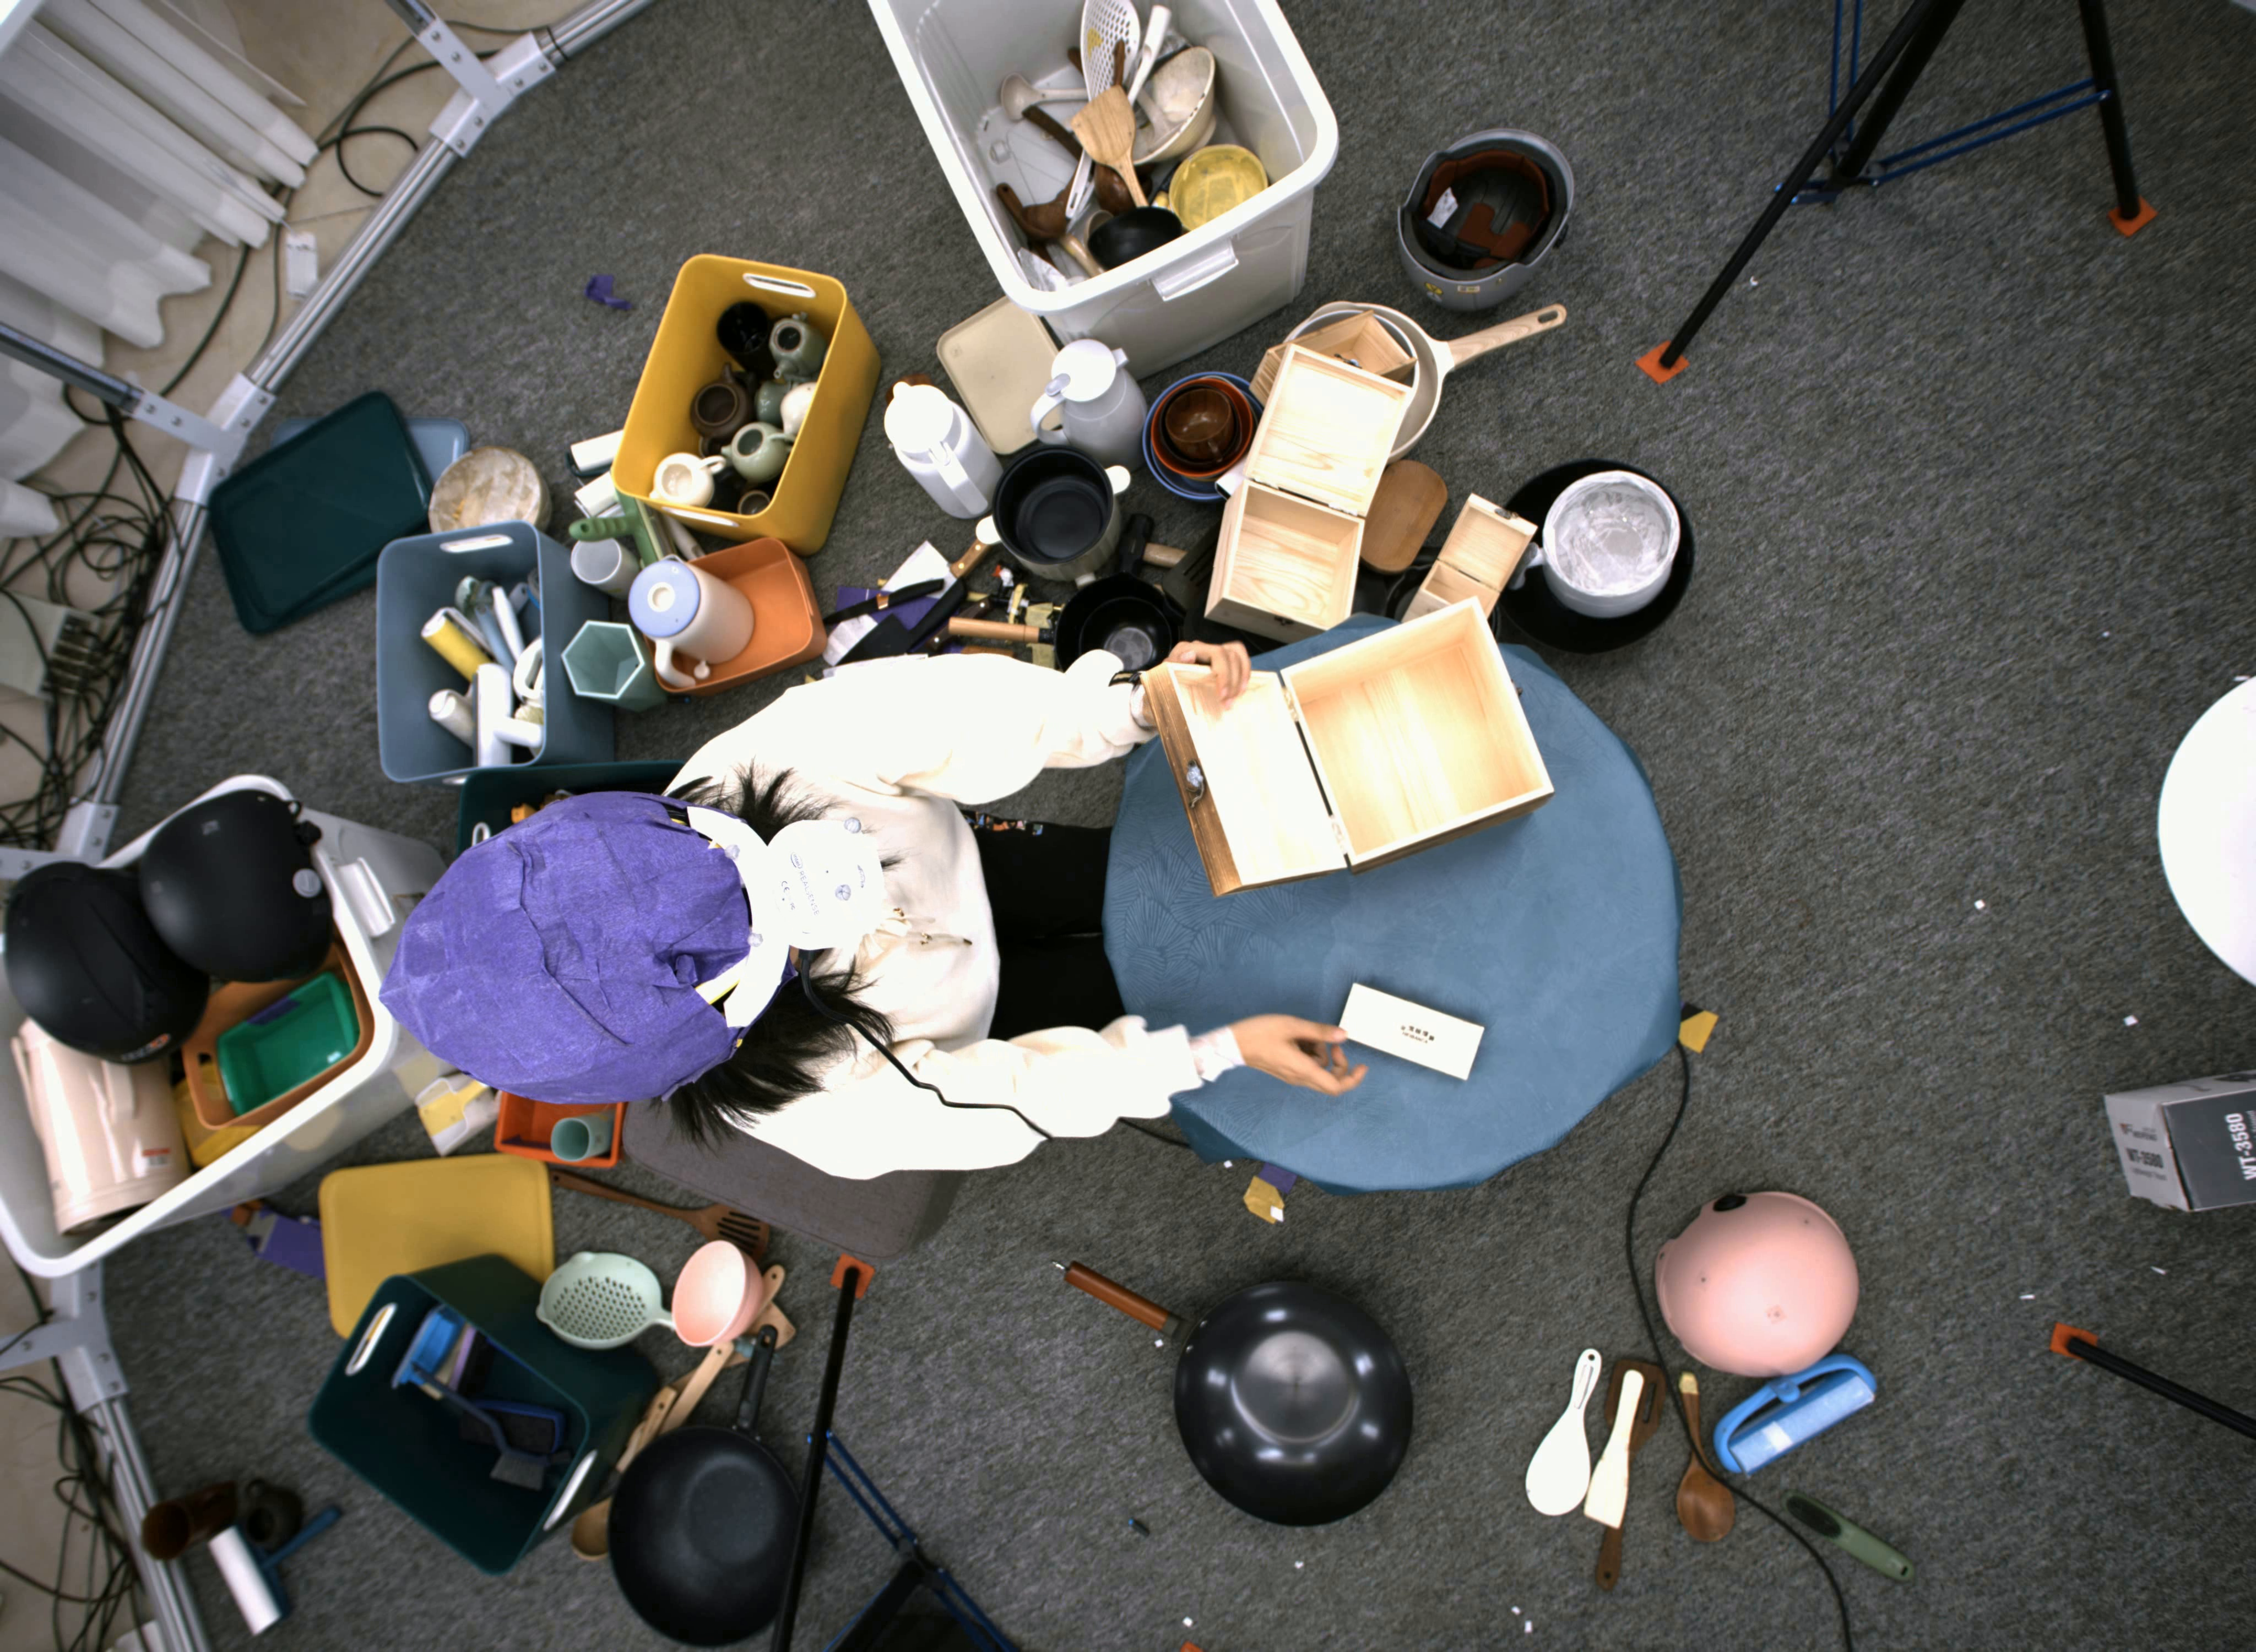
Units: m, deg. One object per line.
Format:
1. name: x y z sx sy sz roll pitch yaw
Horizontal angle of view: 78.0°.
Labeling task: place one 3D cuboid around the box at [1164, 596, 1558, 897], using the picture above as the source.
1. box: 0.223 -0.074 1.291 0.324 0.376 0.207 -21 82 7

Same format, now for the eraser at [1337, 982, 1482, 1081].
1. eraser: 0.292 0.210 1.434 0.139 0.029 0.057 20 92 12
